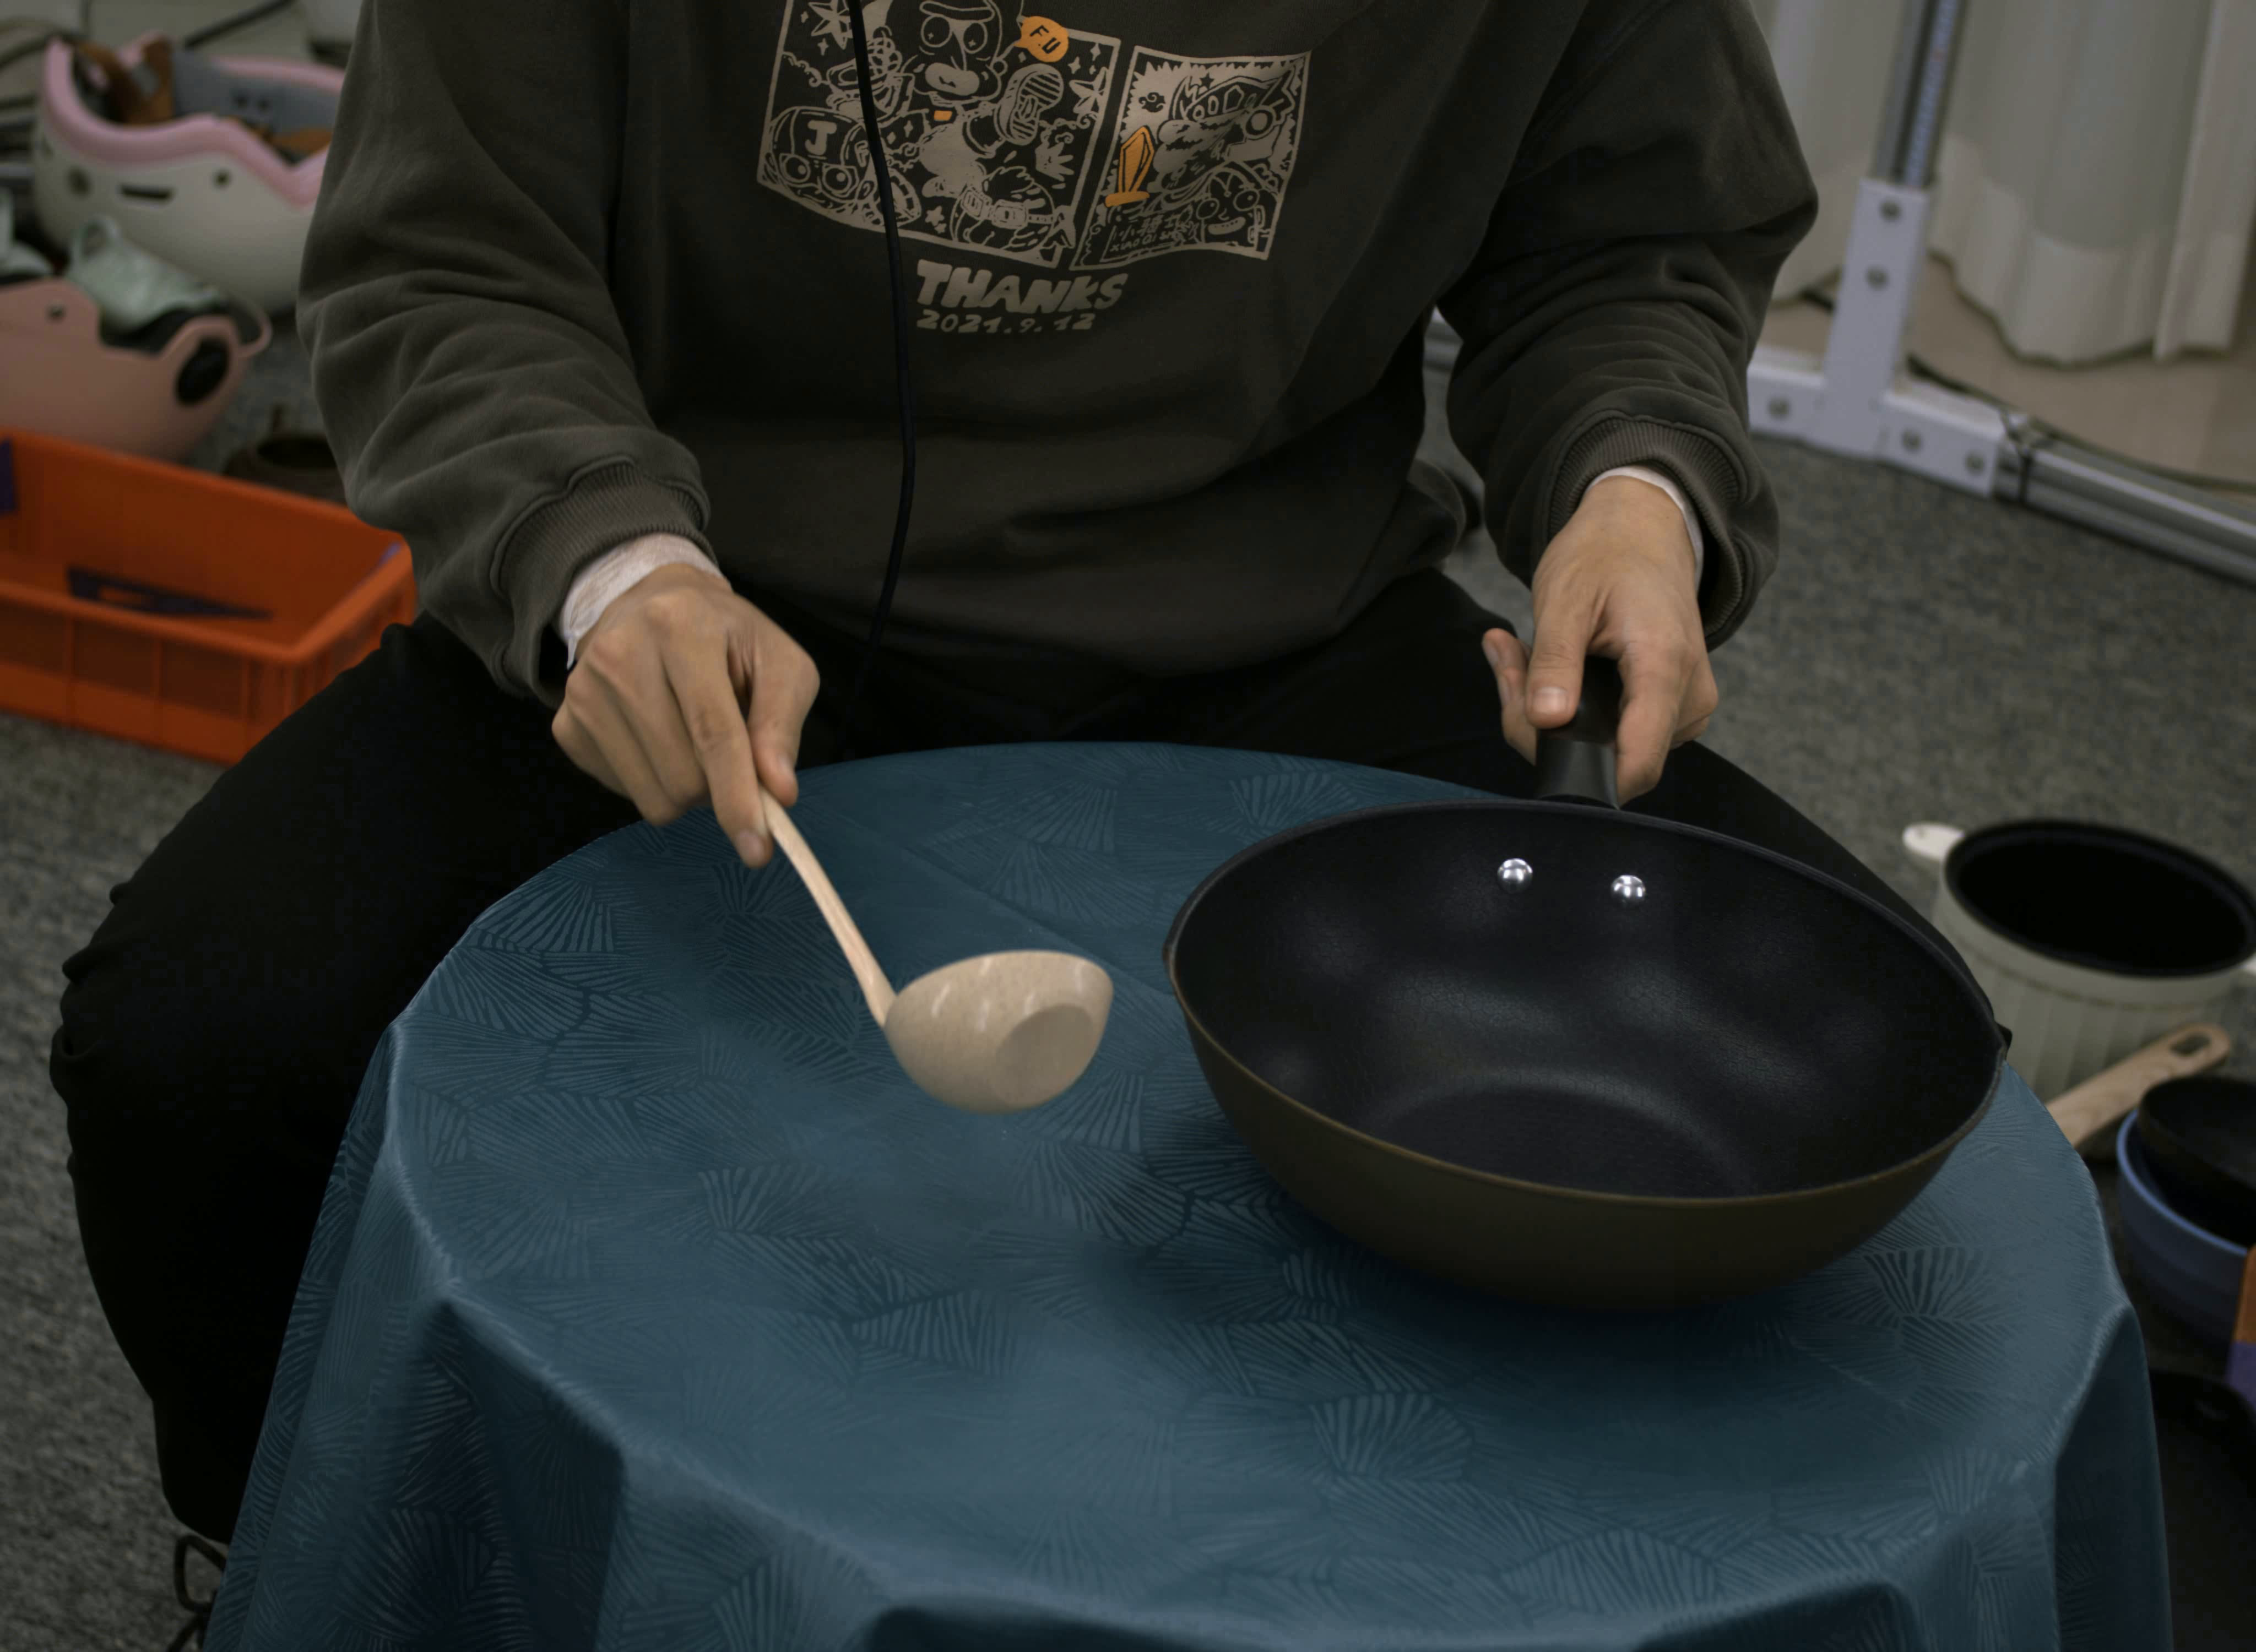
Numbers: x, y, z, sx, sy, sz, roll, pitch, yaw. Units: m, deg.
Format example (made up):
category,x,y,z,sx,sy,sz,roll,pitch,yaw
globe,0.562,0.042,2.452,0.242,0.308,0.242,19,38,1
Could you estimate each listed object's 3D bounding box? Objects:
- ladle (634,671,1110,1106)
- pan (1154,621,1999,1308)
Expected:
category,x,y,z,sx,sy,sz,roll,pitch,yaw
ladle,-0.089,-0.003,1.796,0.071,0.073,0.257,25,20,-47
pan,0.153,0.049,1.895,0.287,0.086,0.465,7,25,1
